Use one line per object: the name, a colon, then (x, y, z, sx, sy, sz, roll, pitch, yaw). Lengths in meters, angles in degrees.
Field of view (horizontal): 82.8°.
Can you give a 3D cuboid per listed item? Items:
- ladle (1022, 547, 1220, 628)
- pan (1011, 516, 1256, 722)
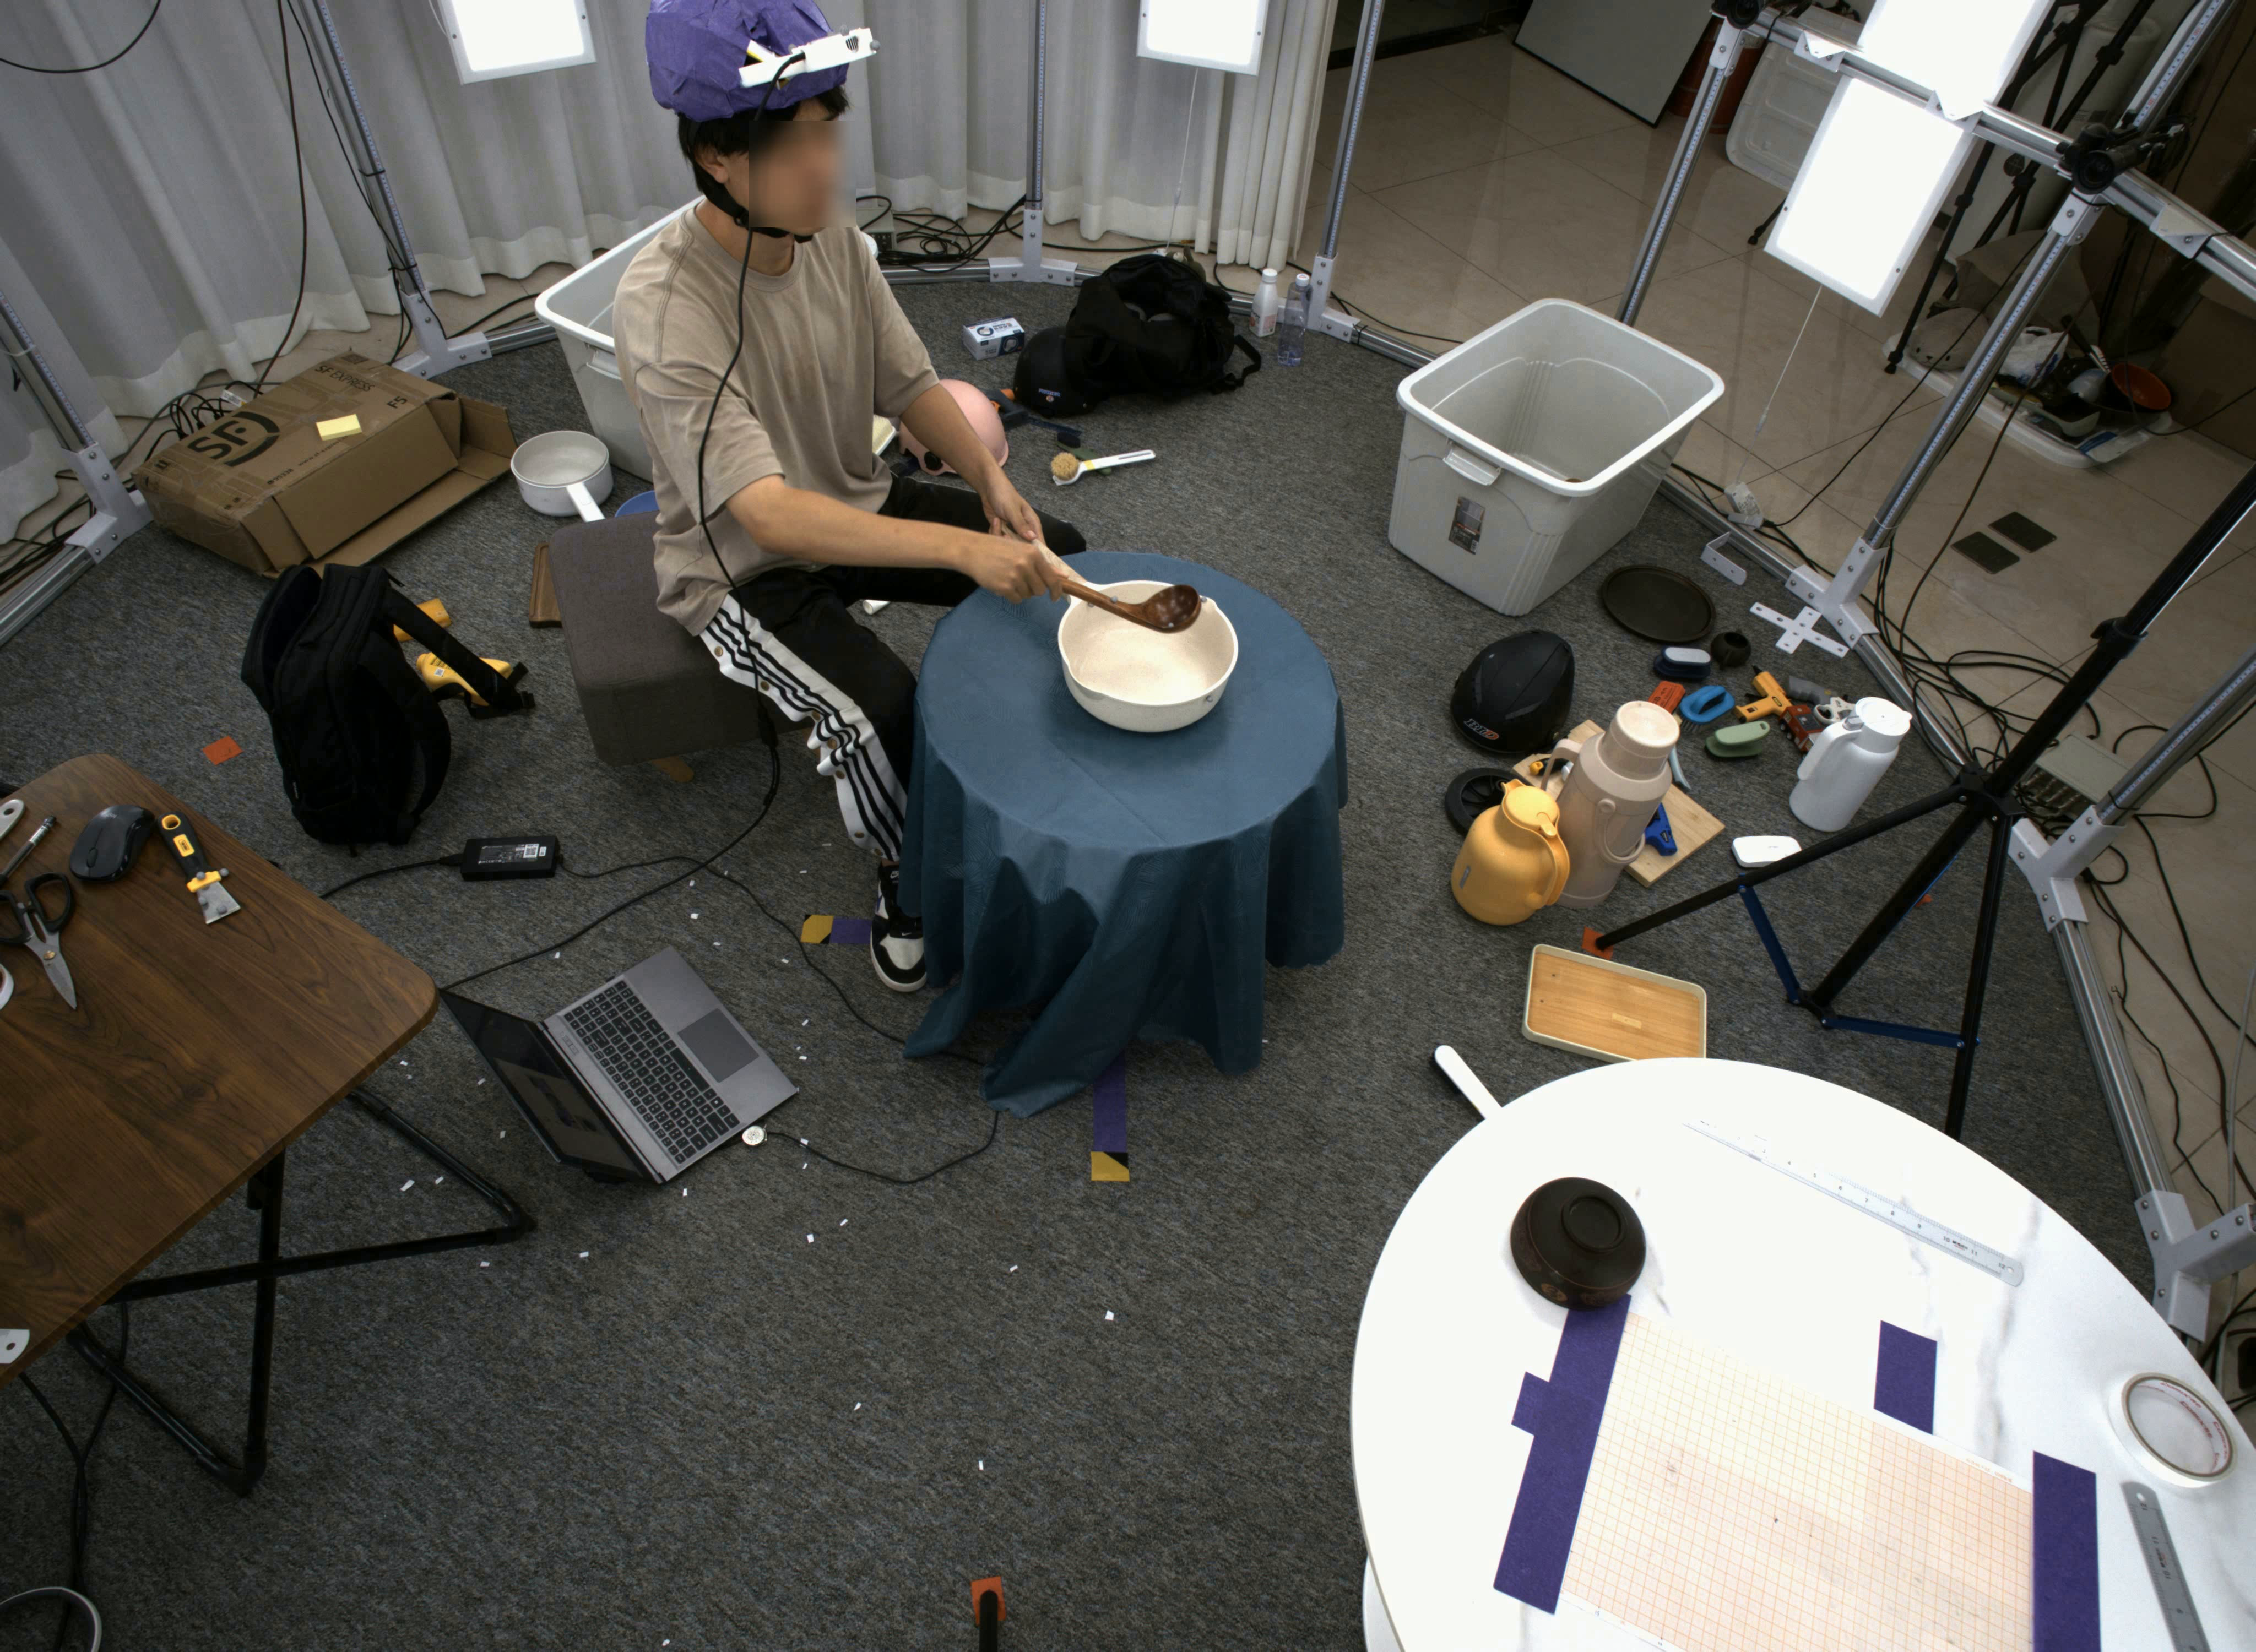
ladle: (-0.002, -0.329, 1.691, 0.271, 0.075, 0.084, 19, 35, -28)
pan: (-0.014, -0.304, 1.854, 0.266, 0.099, 0.441, -36, 60, -29)
